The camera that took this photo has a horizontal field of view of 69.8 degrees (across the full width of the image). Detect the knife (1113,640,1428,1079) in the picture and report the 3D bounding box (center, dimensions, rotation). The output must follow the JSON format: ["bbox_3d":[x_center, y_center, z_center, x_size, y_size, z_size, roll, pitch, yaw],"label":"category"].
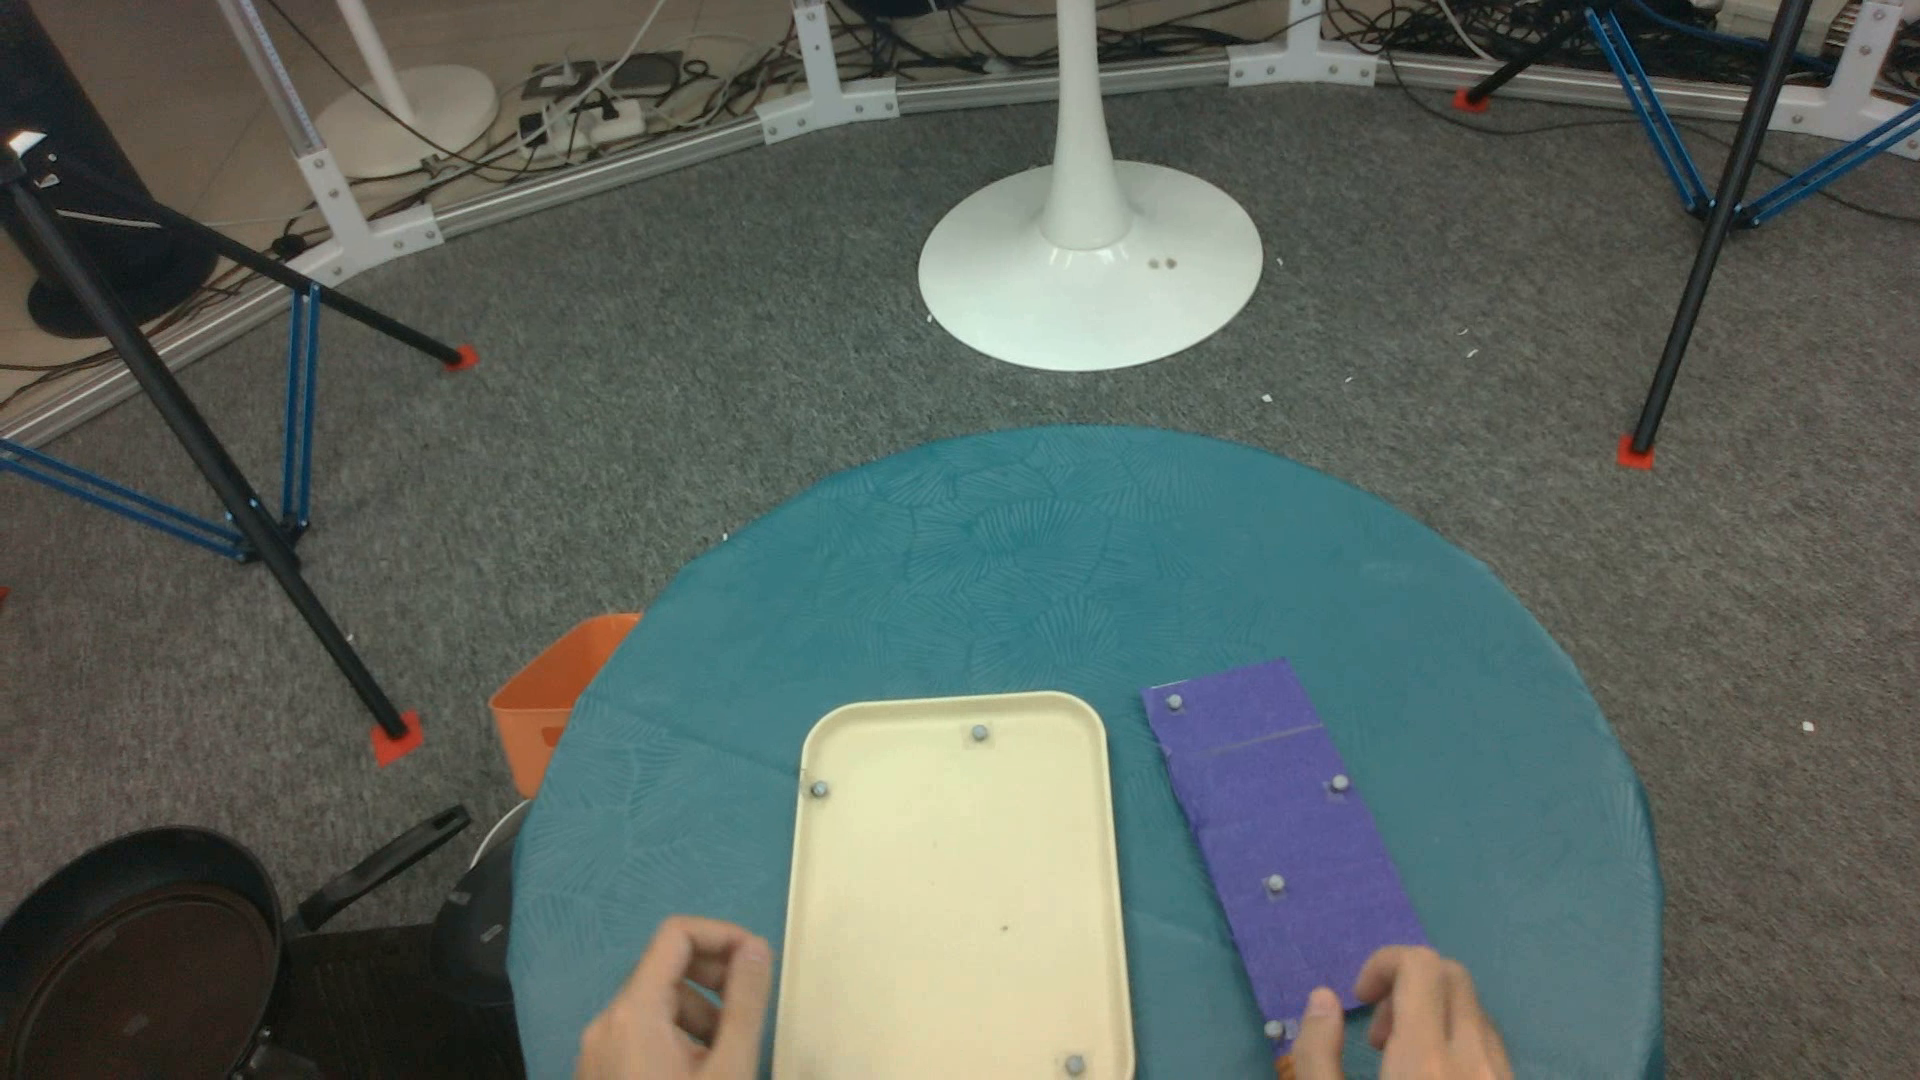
[{"bbox_3d":[0.170,0.172,0.682,0.104,0.032,0.316,-13,48,-4],"label":"knife"}]

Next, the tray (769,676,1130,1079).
[{"bbox_3d":[-0.006,0.175,0.707,0.171,0.017,0.241,-3,48,3],"label":"tray"}]
